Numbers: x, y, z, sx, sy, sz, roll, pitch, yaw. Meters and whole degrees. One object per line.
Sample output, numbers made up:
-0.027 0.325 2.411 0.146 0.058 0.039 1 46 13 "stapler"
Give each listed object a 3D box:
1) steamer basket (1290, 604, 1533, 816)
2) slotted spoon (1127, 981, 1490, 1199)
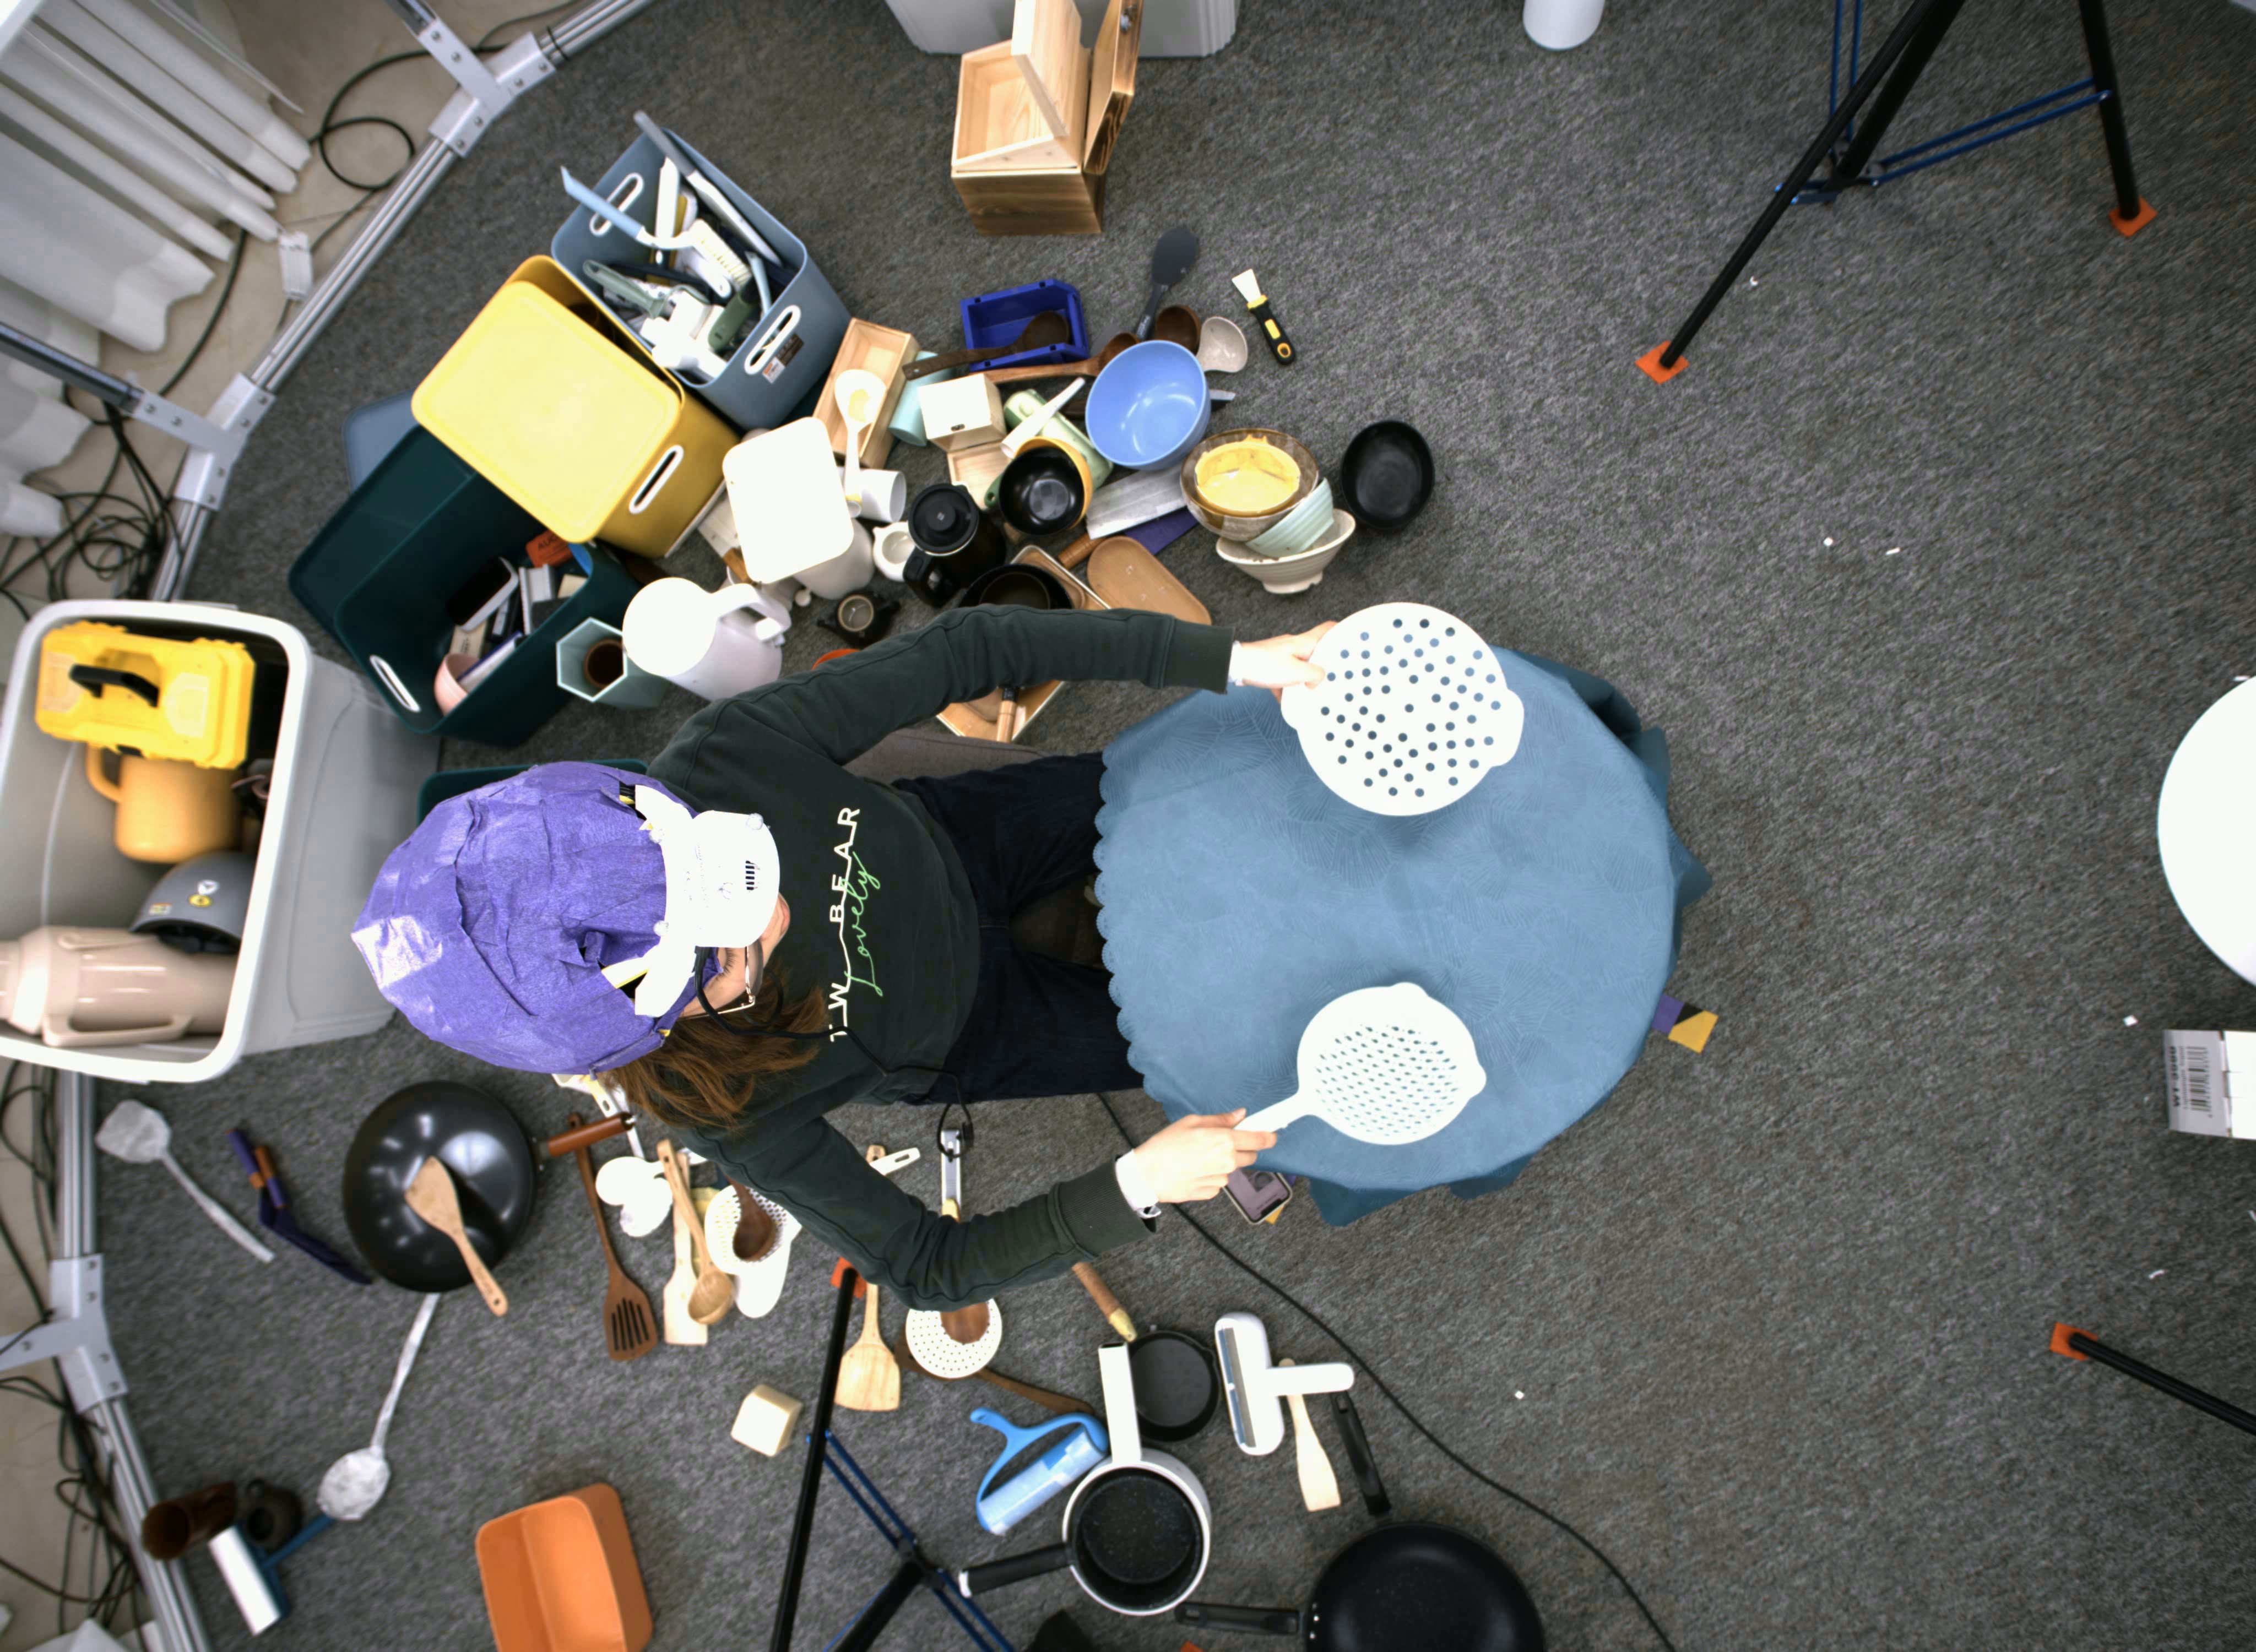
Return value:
0.275 -0.113 1.330 0.231 0.068 0.203 12 101 19 "steamer basket"
0.165 0.267 1.316 0.356 0.077 0.166 -18 48 -16 "slotted spoon"
